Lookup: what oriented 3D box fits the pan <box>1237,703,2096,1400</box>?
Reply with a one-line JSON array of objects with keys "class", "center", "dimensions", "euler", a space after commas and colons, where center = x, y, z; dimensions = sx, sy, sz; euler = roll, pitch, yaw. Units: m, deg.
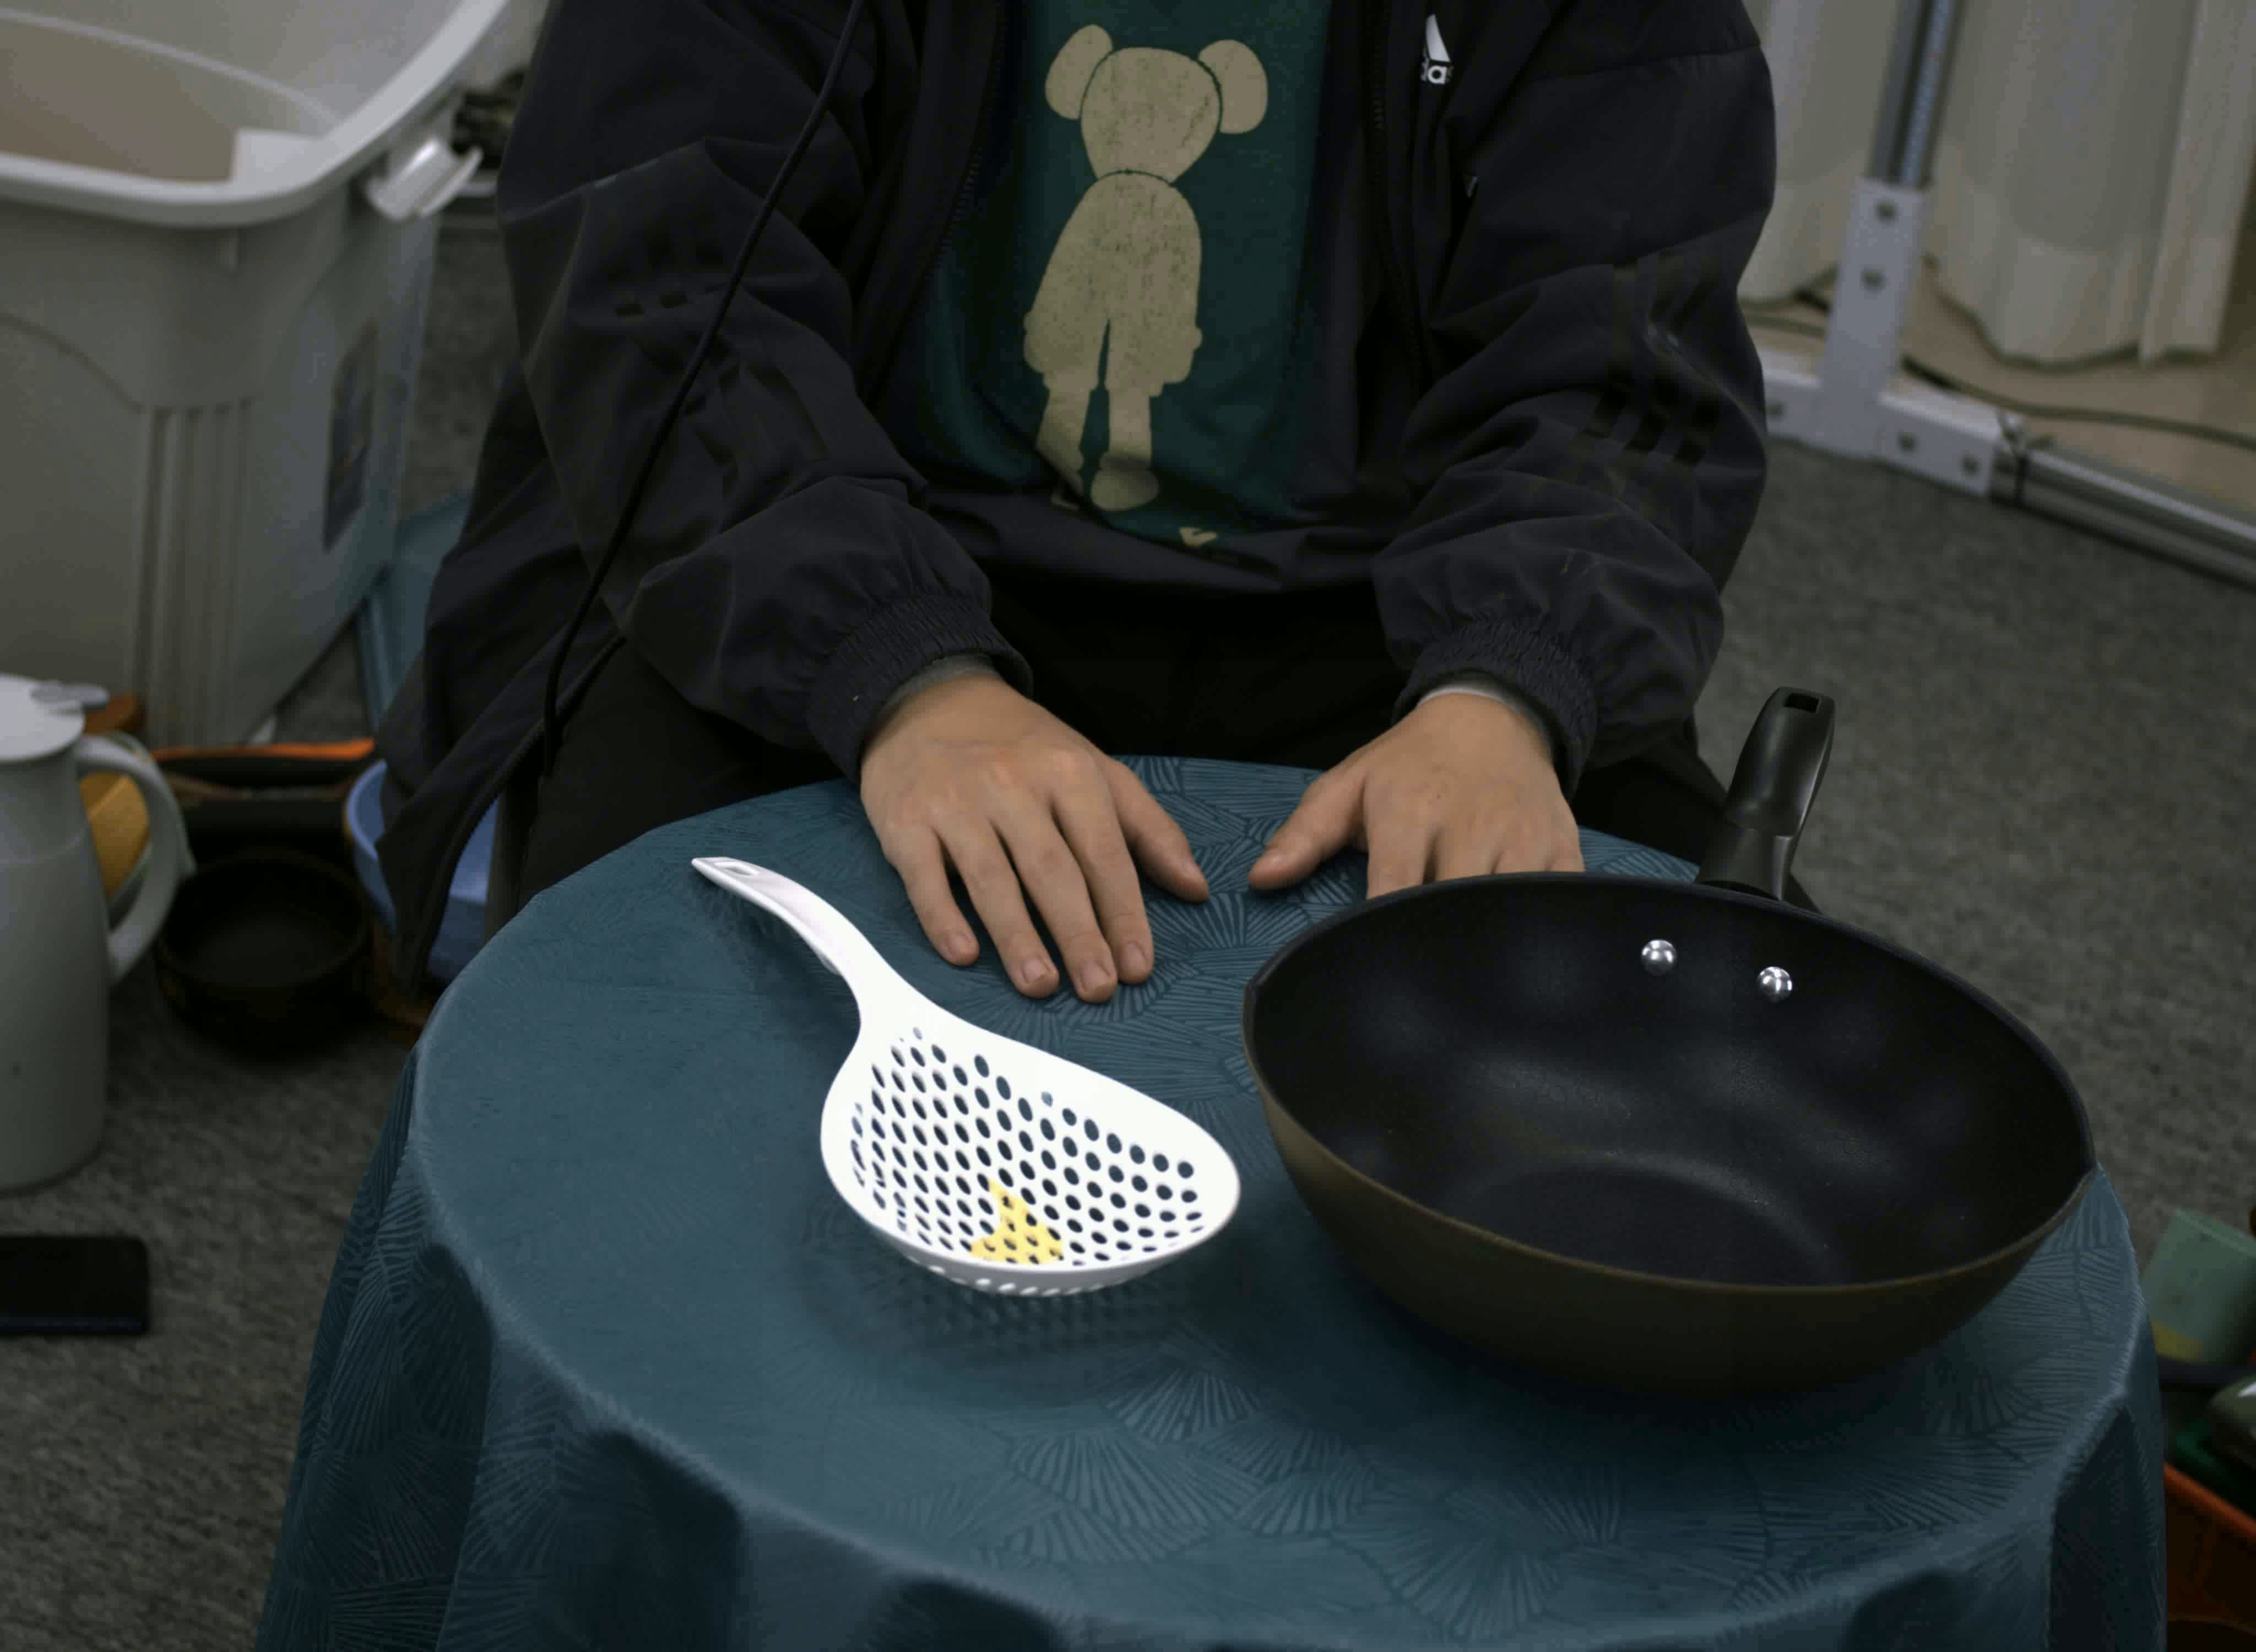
[{"class": "pan", "center": [0.196, 0.076, 1.851], "dimensions": [0.288, 0.086, 0.464], "euler": [12, 26, 11]}]

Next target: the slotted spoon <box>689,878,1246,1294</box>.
[{"class": "slotted spoon", "center": [-0.077, 0.077, 1.835], "dimensions": [0.136, 0.050, 0.351], "euler": [-8, 30, -23]}]
